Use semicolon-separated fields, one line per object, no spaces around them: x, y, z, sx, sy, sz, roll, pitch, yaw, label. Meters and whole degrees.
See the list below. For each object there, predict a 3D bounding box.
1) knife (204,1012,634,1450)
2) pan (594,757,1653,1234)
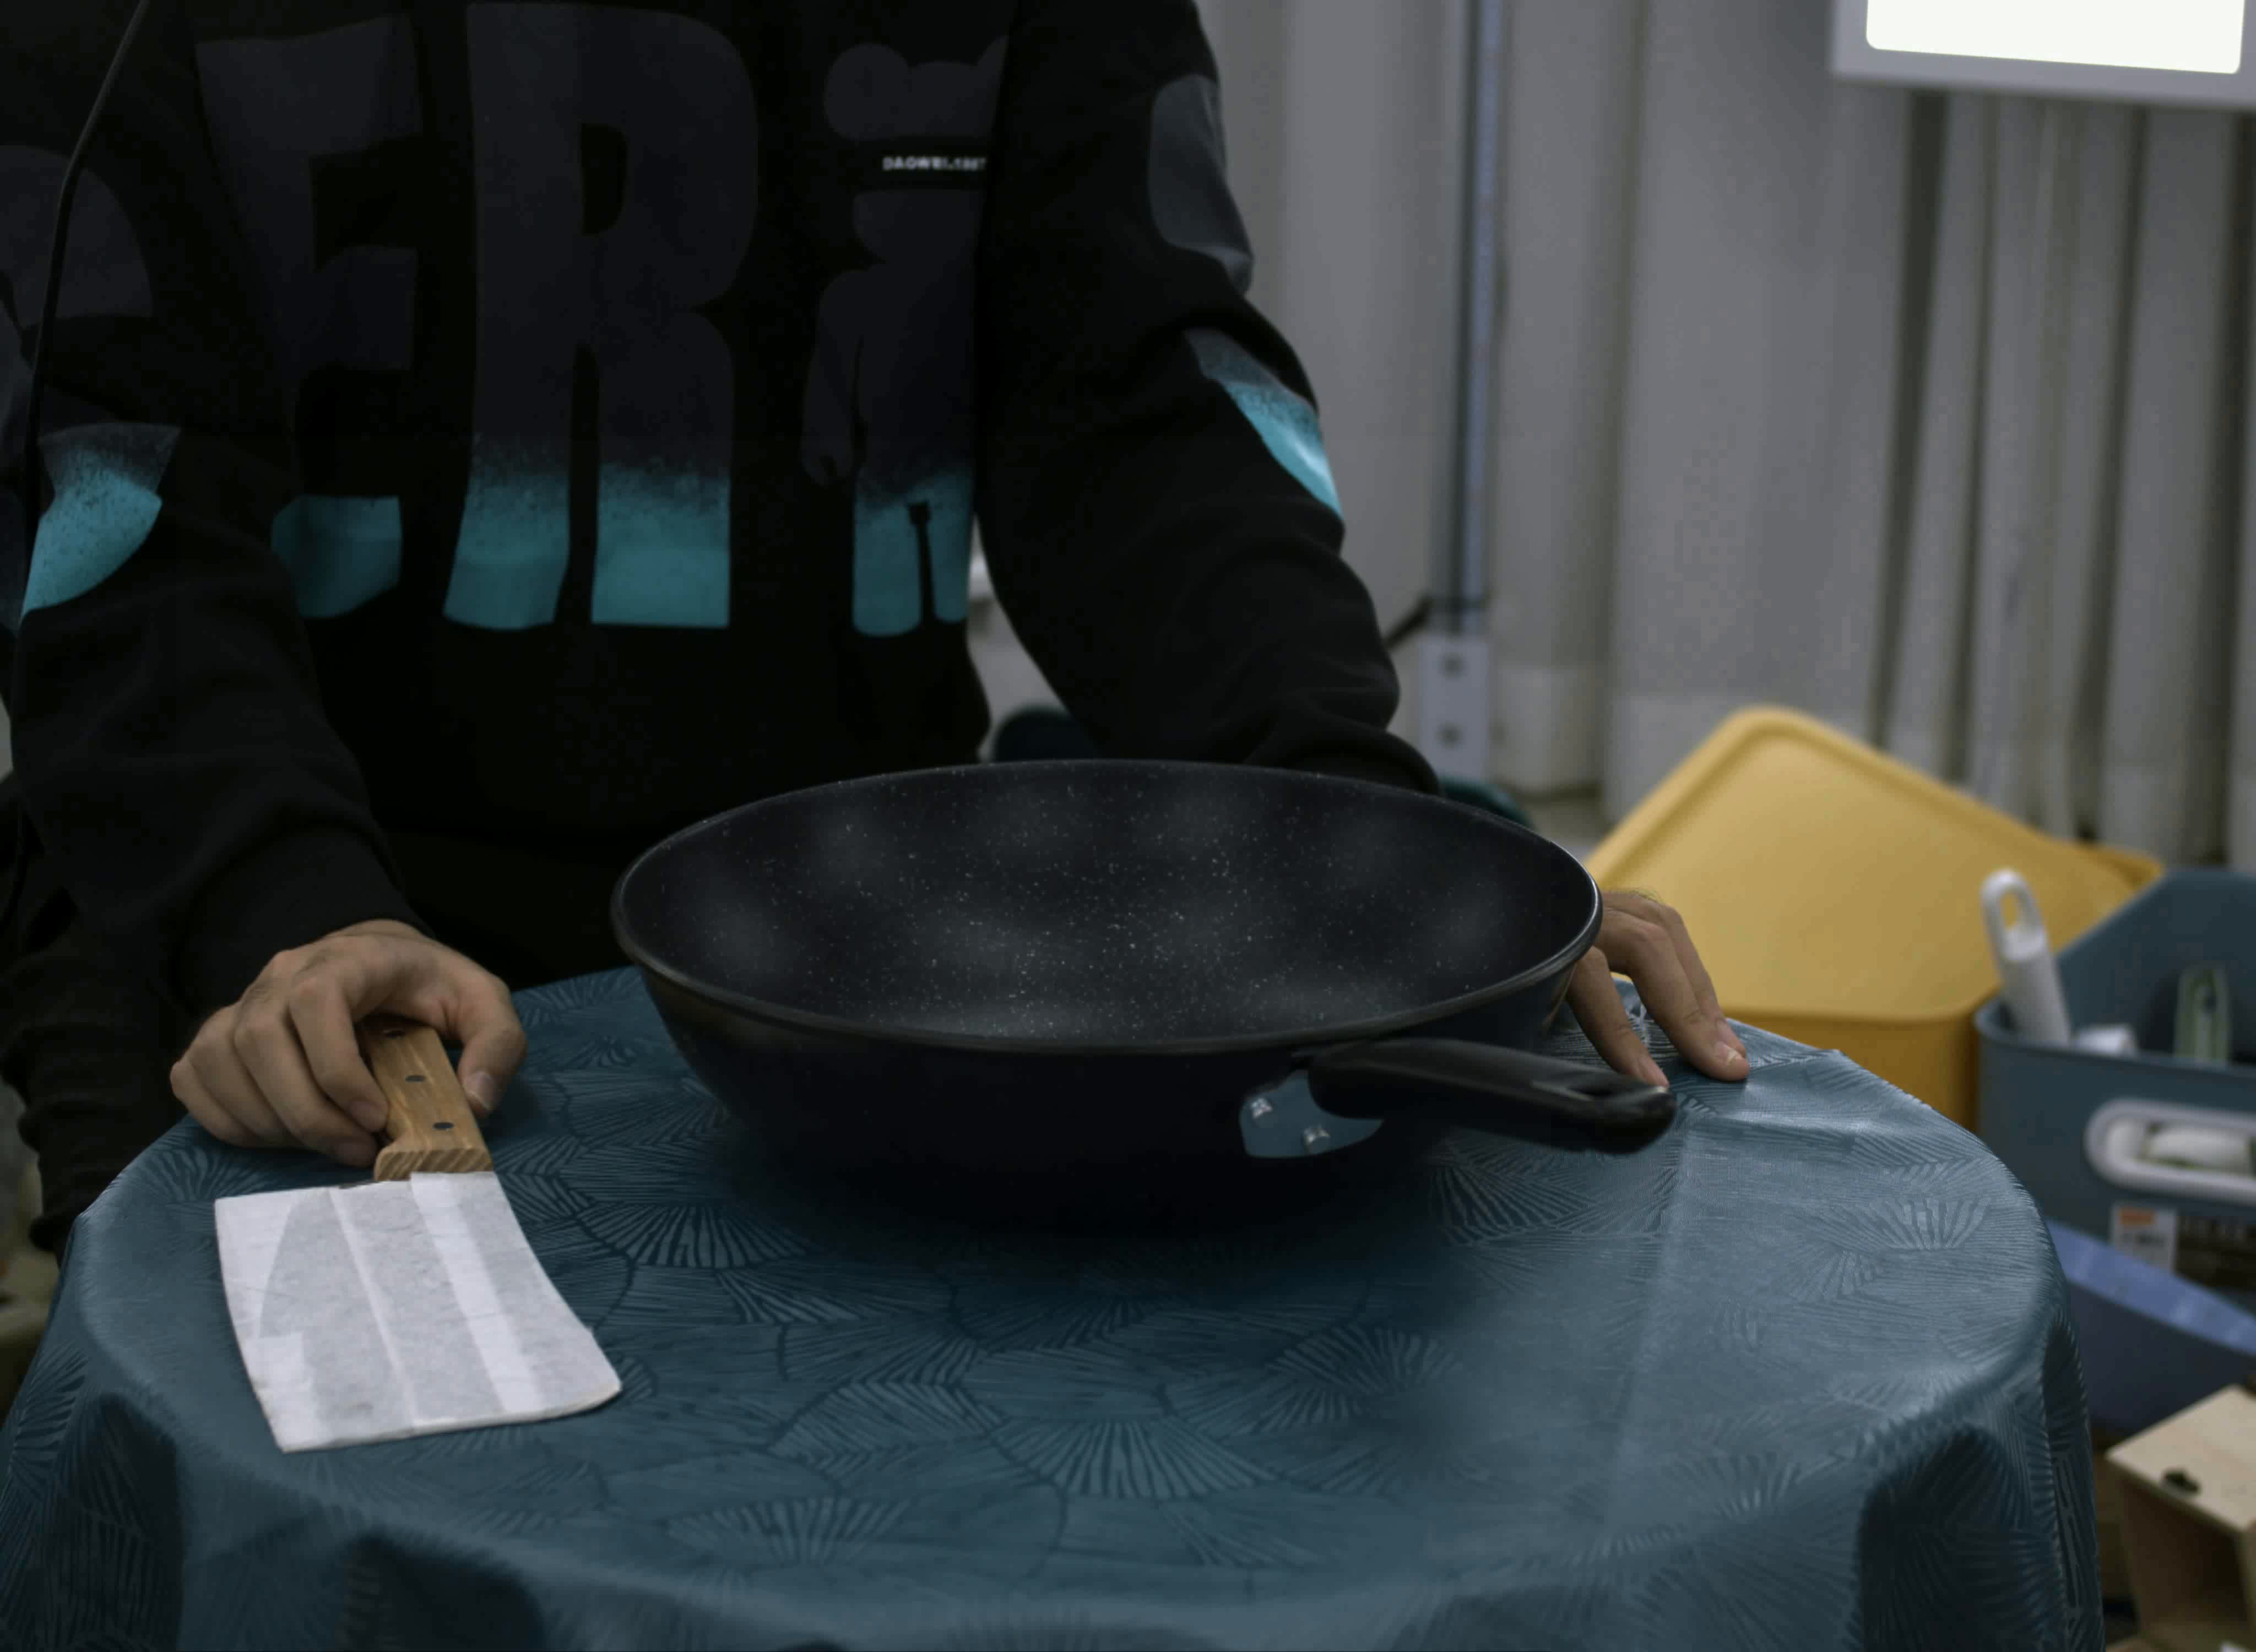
-0.217;0.117;1.566;0.114;0.022;0.312;-3;19;-11;knife
0.025;0.069;1.582;0.311;0.112;0.471;-9;18;-25;pan
